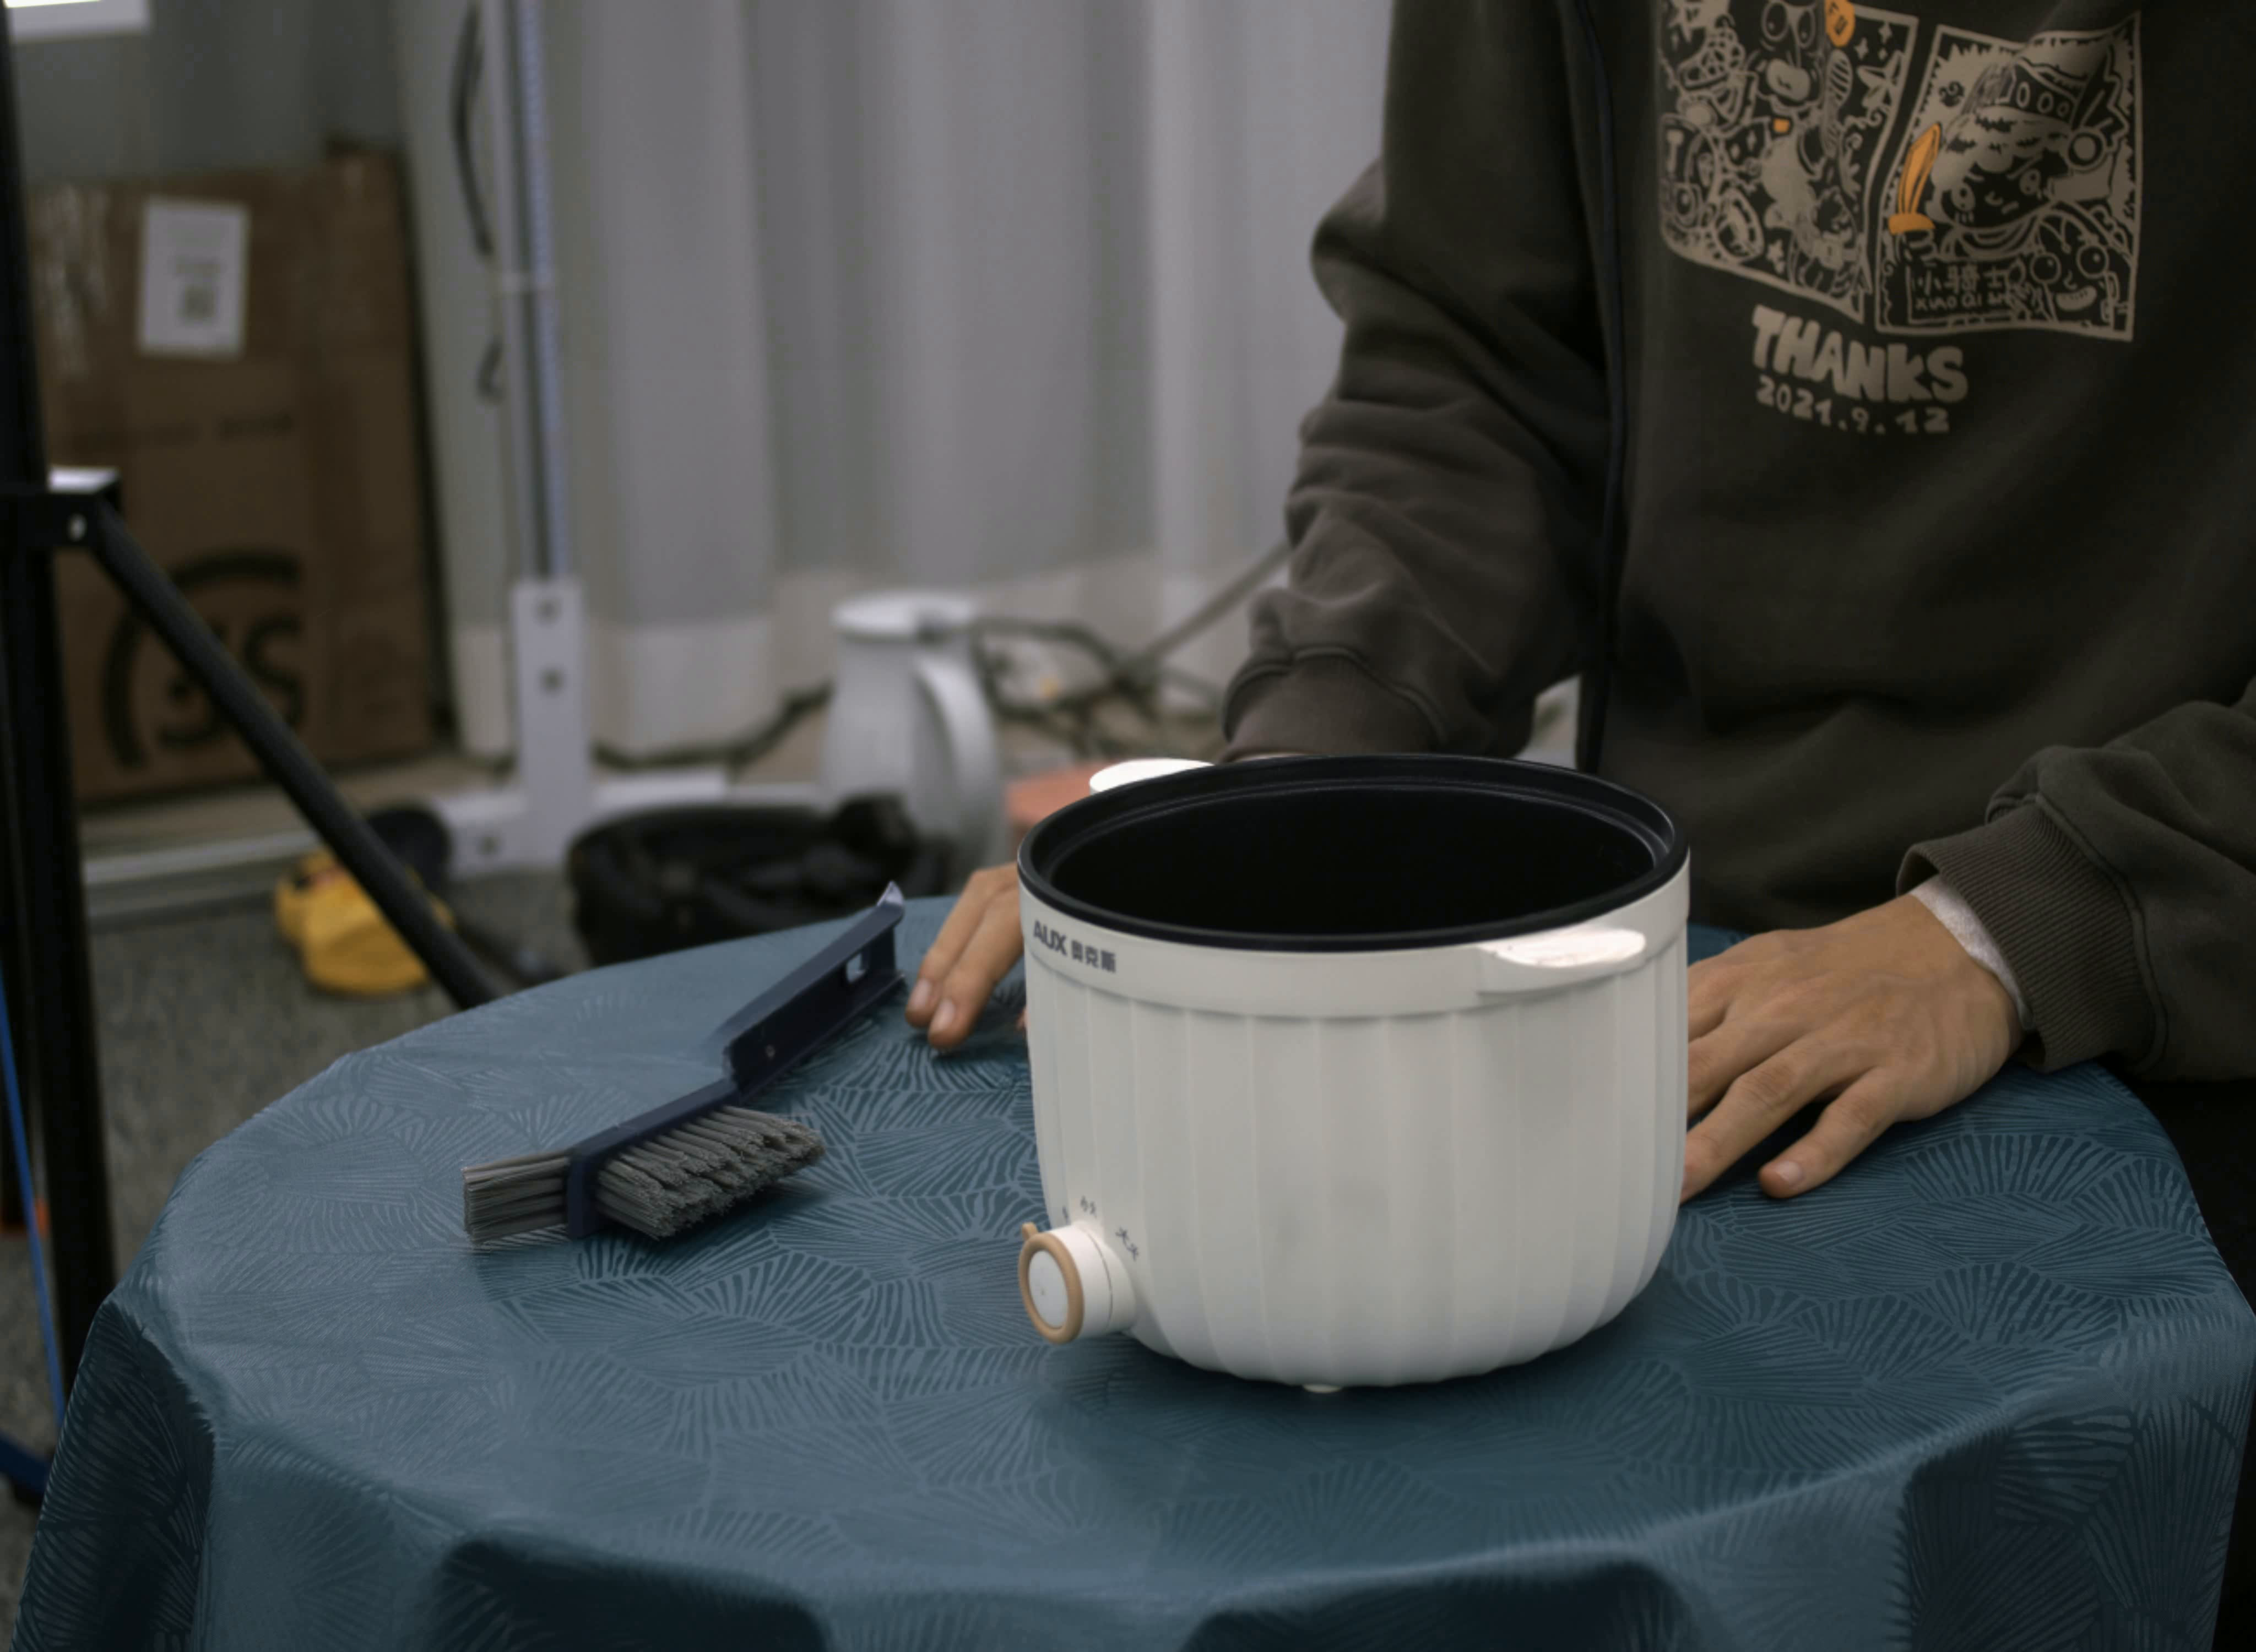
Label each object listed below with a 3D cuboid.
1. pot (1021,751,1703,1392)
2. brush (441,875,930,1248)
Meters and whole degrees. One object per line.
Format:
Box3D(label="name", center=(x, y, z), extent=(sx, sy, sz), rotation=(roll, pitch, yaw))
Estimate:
Box3D(label="pot", center=(0.059, 0.068, 1.437), extent=(0.186, 0.143, 0.245), rotation=(-8, 15, -30))
Box3D(label="brush", center=(-0.127, 0.071, 1.657), extent=(0.096, 0.033, 0.271), rotation=(1, 17, 13))
